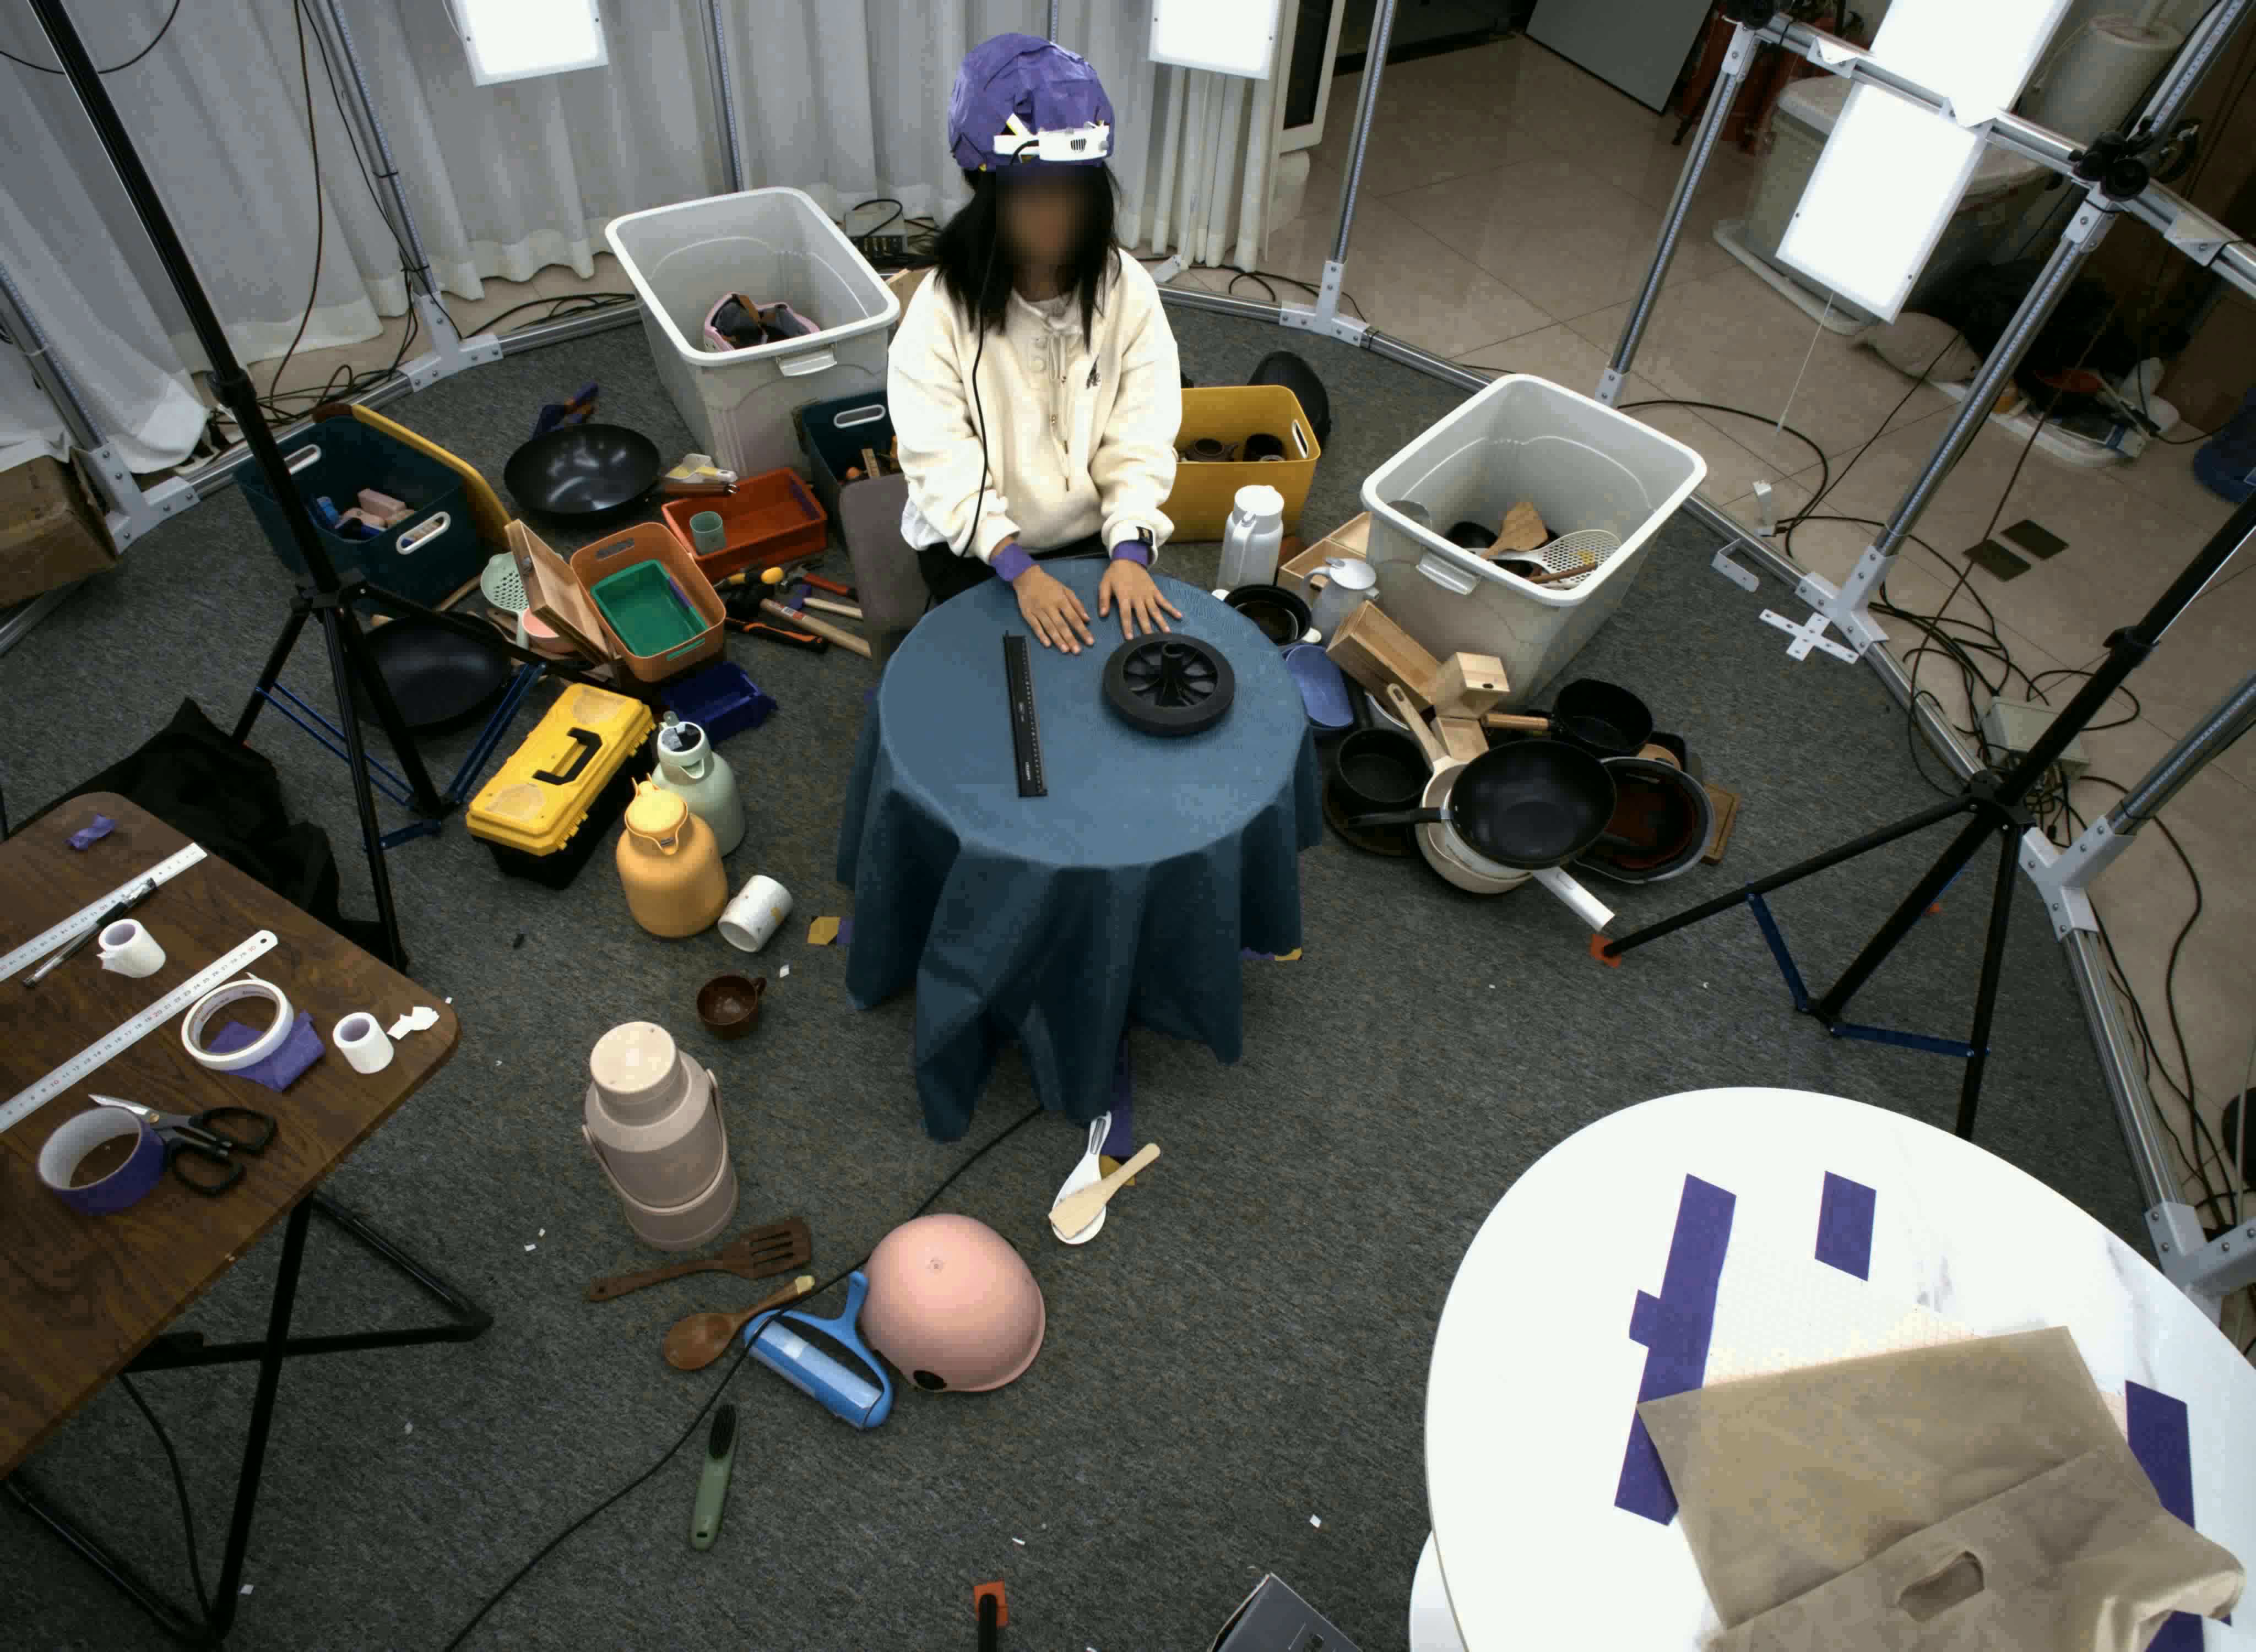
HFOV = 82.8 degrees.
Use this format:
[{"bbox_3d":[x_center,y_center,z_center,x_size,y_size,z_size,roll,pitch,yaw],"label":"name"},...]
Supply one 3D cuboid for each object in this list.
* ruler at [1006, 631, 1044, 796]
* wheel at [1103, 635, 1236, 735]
[{"bbox_3d":[-0.144,-0.164,1.792,0.039,0.017,0.320,0,49,-8],"label":"ruler"},{"bbox_3d":[0.060,-0.217,1.813,0.191,0.077,0.191,22,51,14],"label":"wheel"}]
